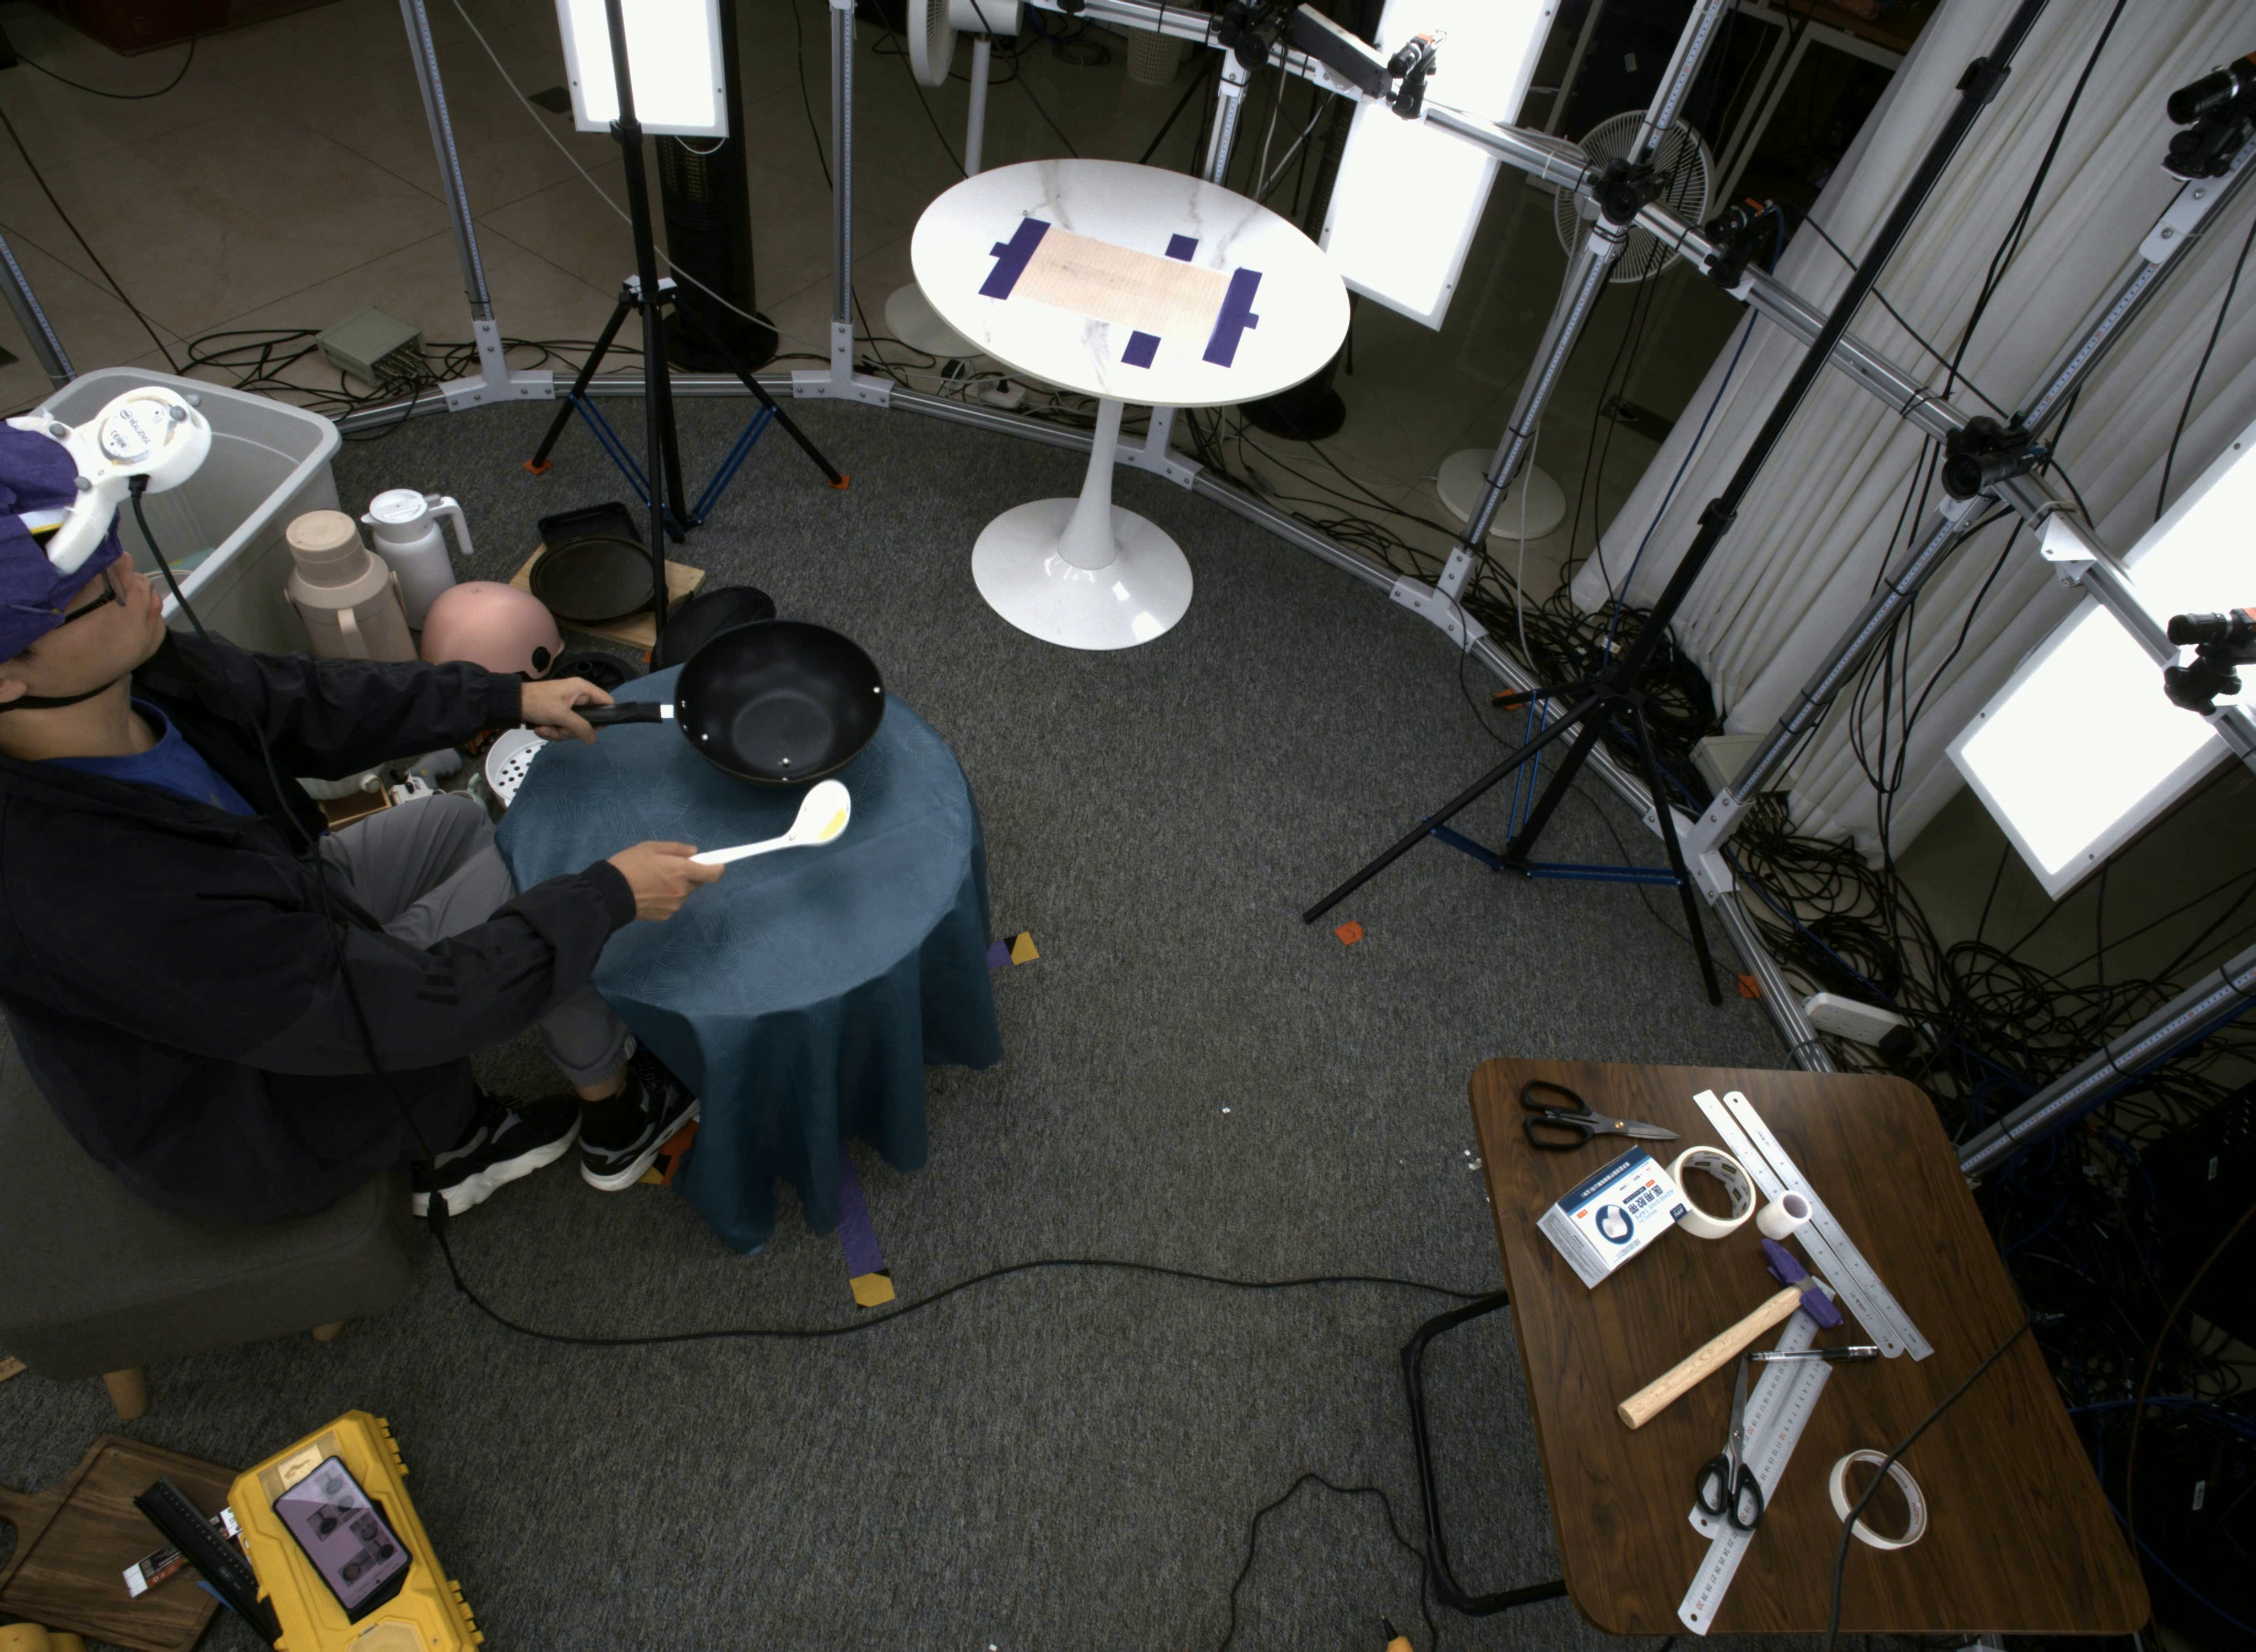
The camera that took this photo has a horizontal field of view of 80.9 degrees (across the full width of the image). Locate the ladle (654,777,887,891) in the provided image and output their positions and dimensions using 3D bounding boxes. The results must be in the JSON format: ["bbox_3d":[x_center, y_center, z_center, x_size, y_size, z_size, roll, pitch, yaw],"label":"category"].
[{"bbox_3d":[-0.437,0.013,1.589,0.294,0.072,0.087,-15,55,-20],"label":"ladle"}]

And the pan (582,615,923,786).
[{"bbox_3d":[-0.508,-0.150,1.748,0.464,0.088,0.282,-5,57,-16],"label":"pan"}]
